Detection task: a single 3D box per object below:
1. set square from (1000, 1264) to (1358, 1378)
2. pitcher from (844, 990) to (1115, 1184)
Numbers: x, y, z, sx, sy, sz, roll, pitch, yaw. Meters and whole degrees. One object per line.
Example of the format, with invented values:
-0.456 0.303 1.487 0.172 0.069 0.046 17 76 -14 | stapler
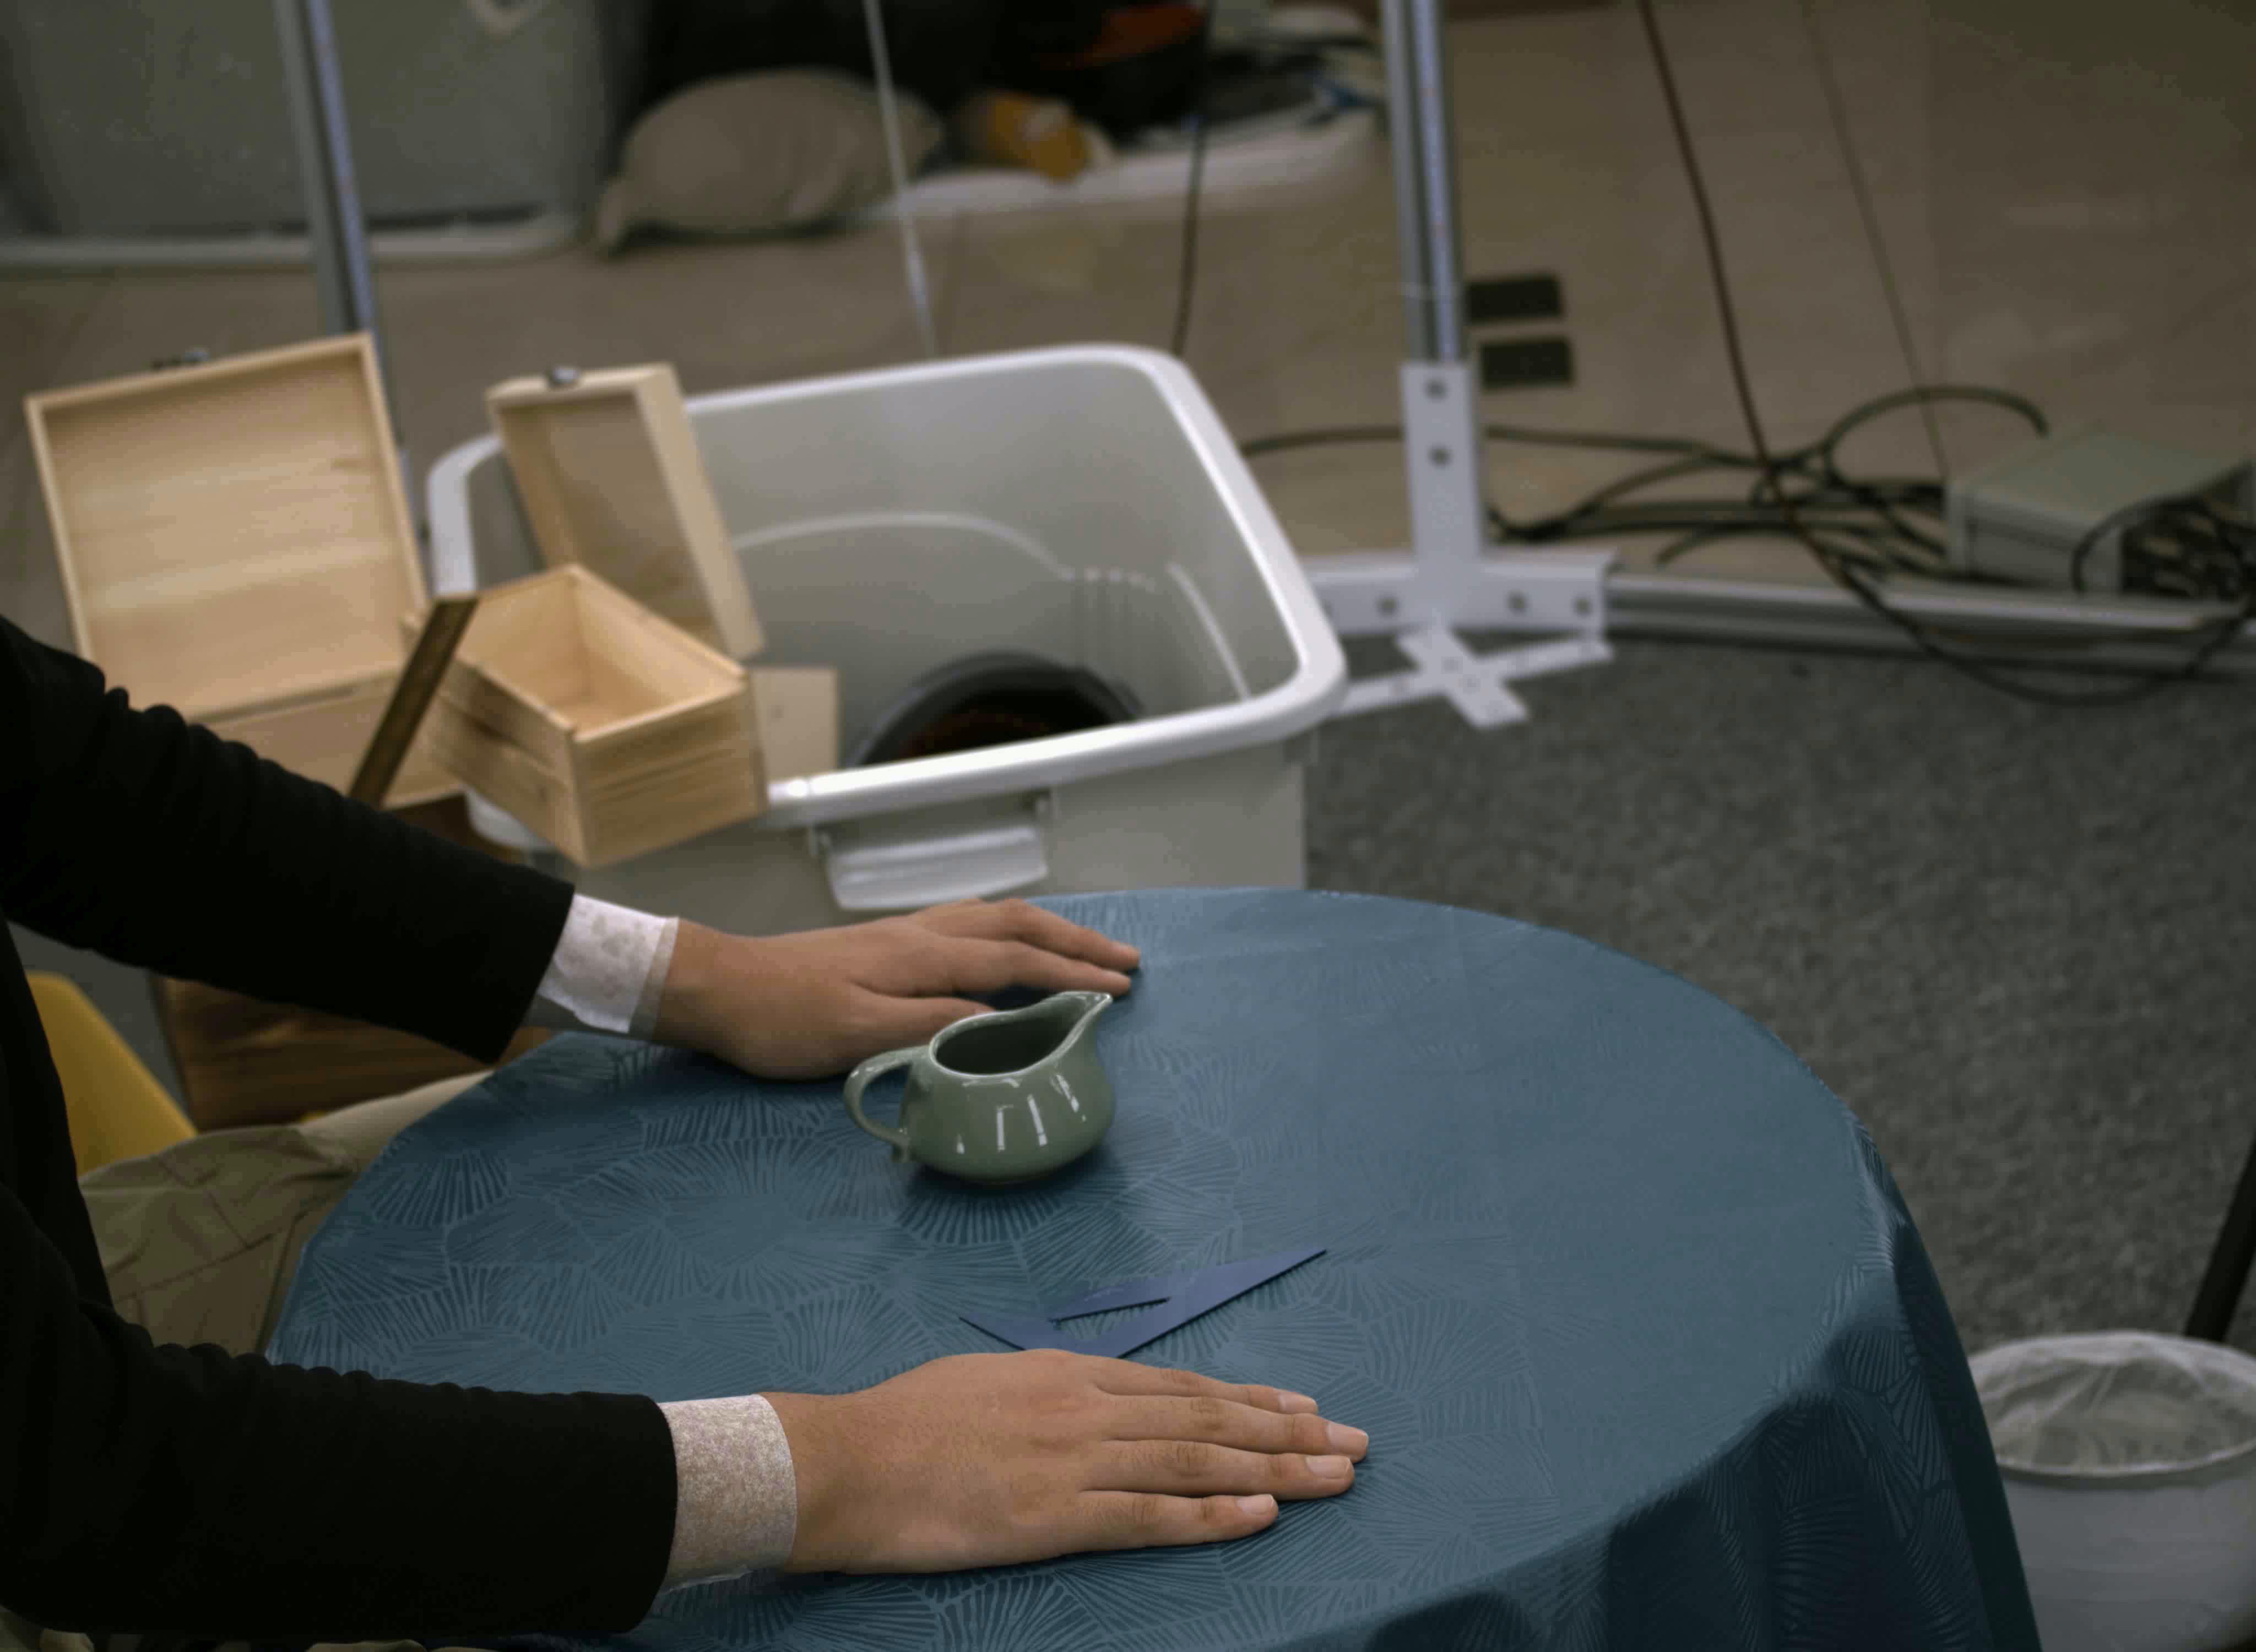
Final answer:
0.021 0.179 2.053 0.132 0.006 0.060 -8 24 -4 | set square
-0.054 0.103 2.172 0.112 0.057 0.083 -16 25 -20 | pitcher
